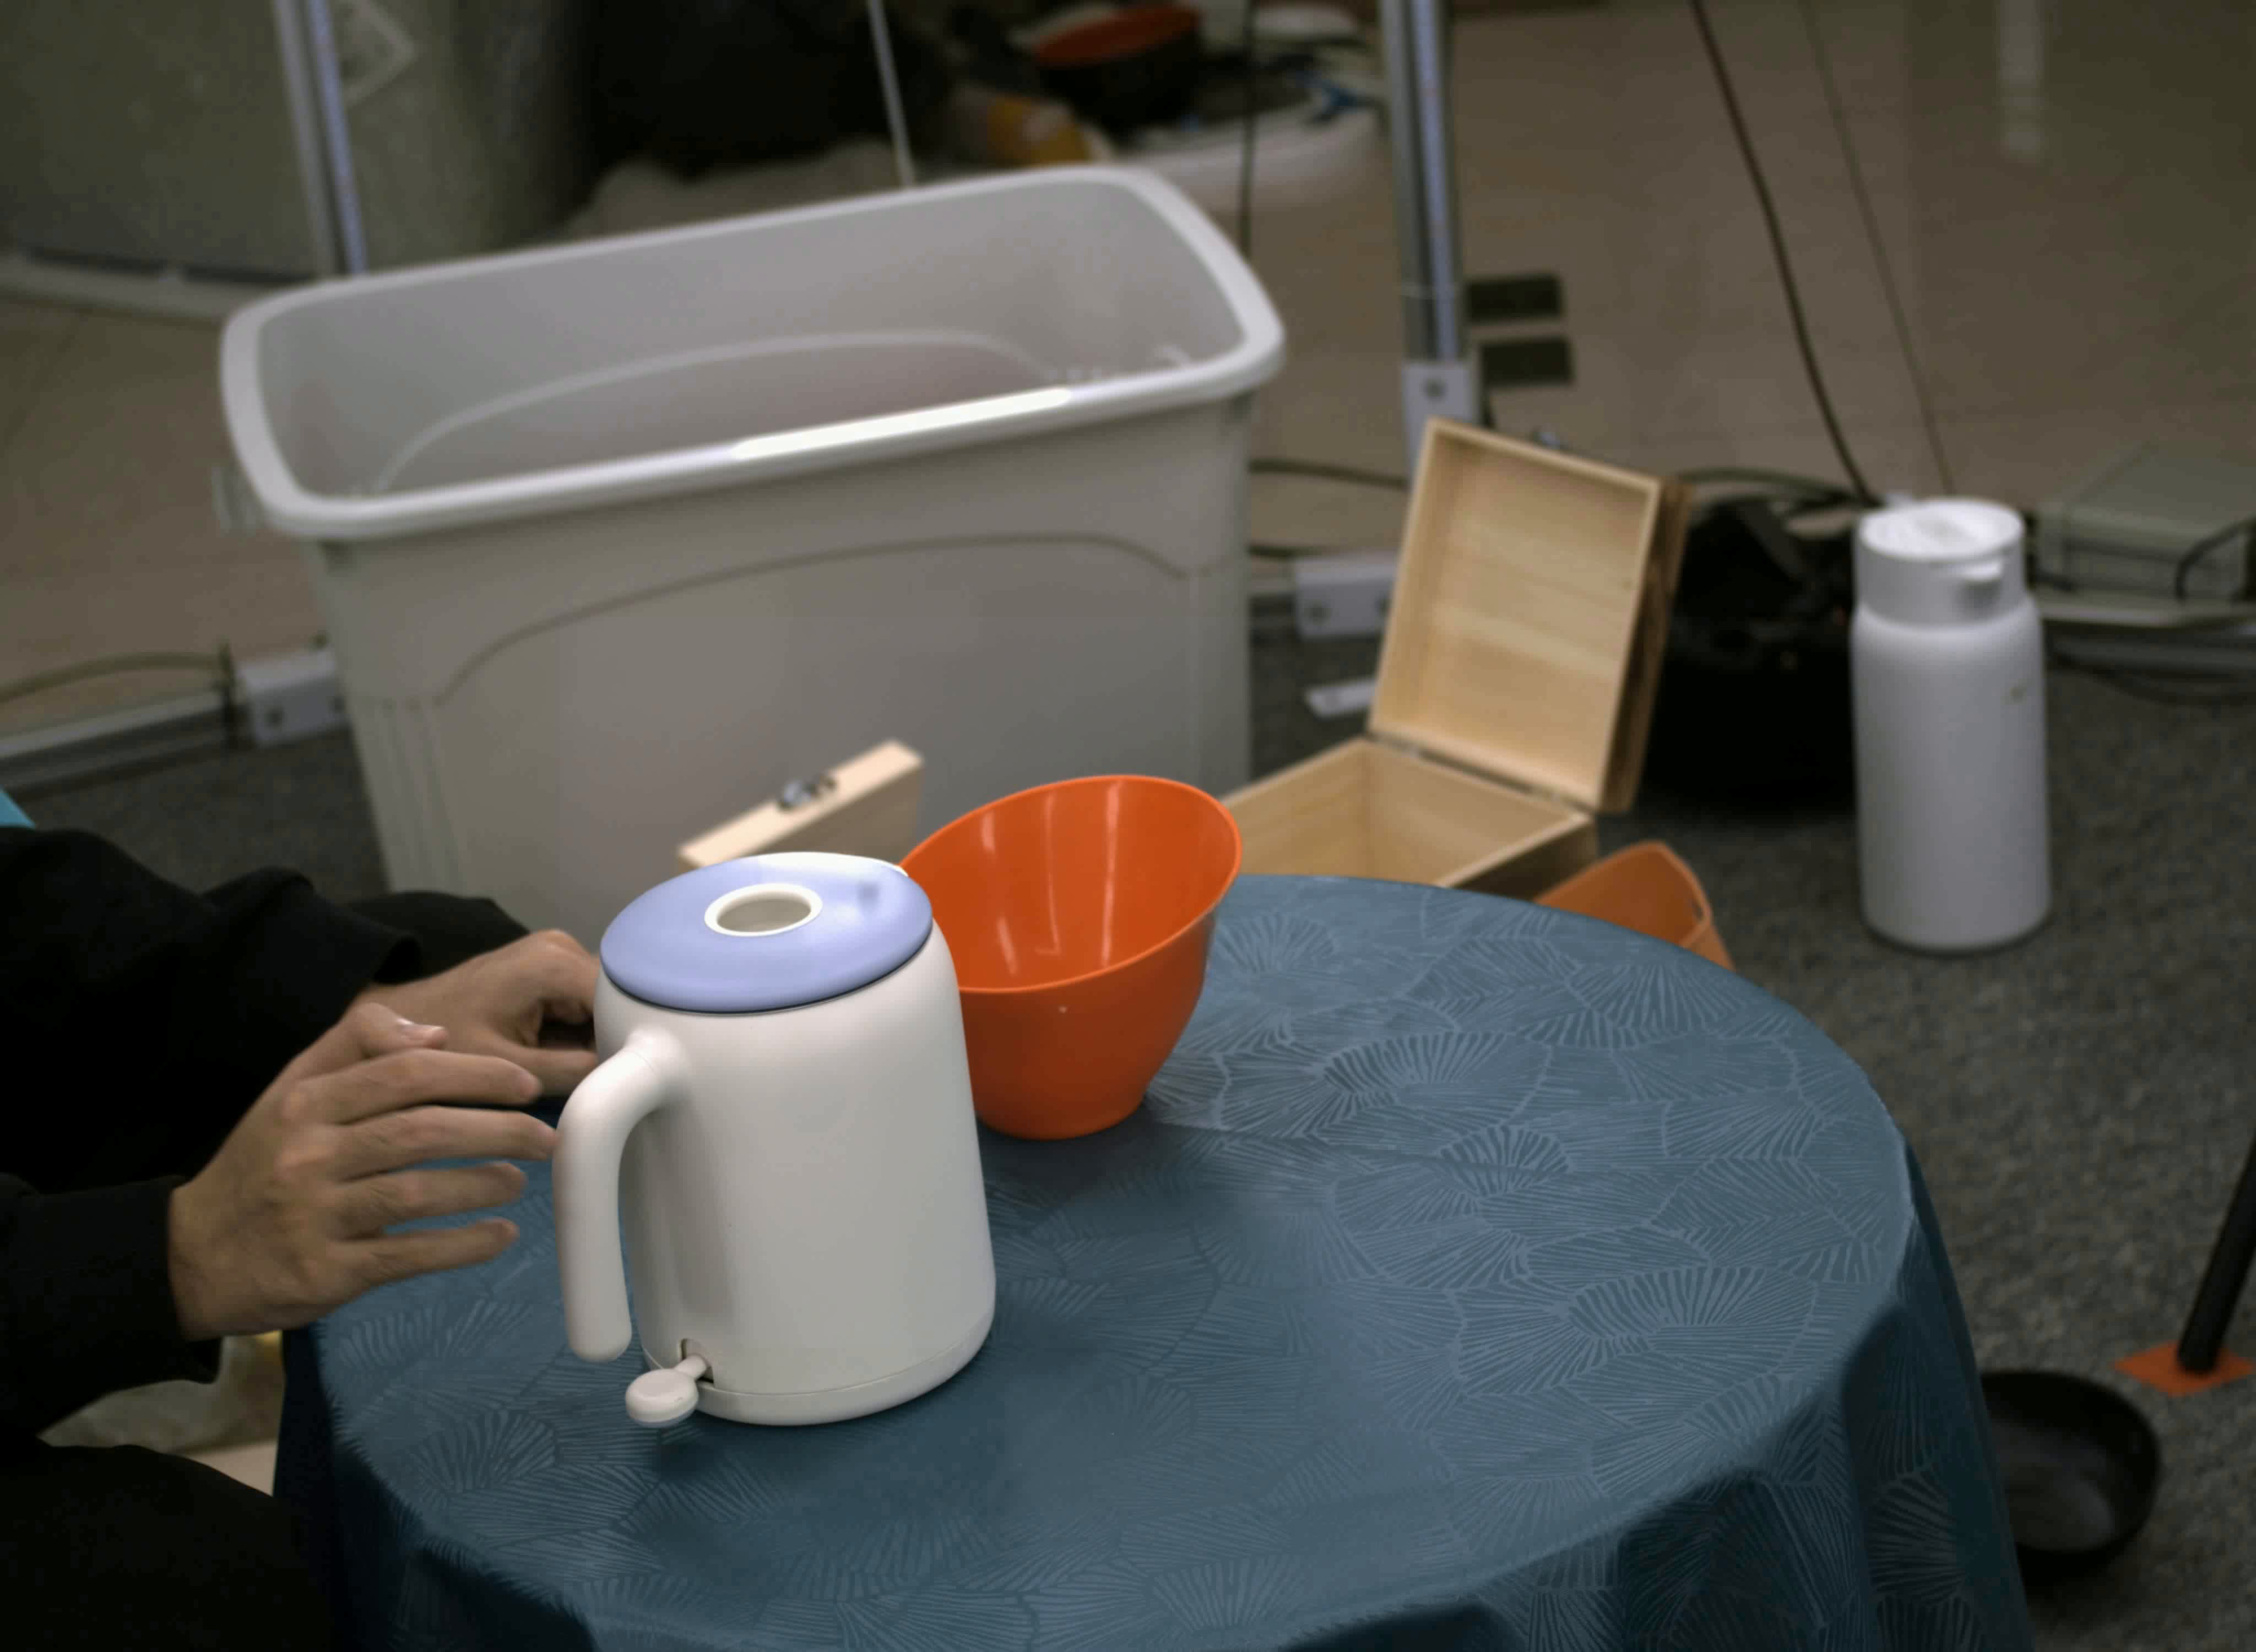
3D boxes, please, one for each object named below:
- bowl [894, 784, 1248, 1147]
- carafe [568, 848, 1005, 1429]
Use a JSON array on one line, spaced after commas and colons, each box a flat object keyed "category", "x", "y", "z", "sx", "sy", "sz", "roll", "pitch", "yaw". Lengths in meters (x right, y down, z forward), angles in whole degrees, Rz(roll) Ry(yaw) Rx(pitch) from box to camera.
[{"category": "bowl", "x": -0.022, "y": 0.060, "z": 2.199, "sx": 0.148, "sy": 0.106, "sz": 0.146, "roll": -5, "pitch": 25, "yaw": 2}, {"category": "carafe", "x": -0.132, "y": 0.121, "z": 2.012, "sx": 0.131, "sy": 0.185, "sz": 0.189, "roll": 12, "pitch": 33, "yaw": 35}]
